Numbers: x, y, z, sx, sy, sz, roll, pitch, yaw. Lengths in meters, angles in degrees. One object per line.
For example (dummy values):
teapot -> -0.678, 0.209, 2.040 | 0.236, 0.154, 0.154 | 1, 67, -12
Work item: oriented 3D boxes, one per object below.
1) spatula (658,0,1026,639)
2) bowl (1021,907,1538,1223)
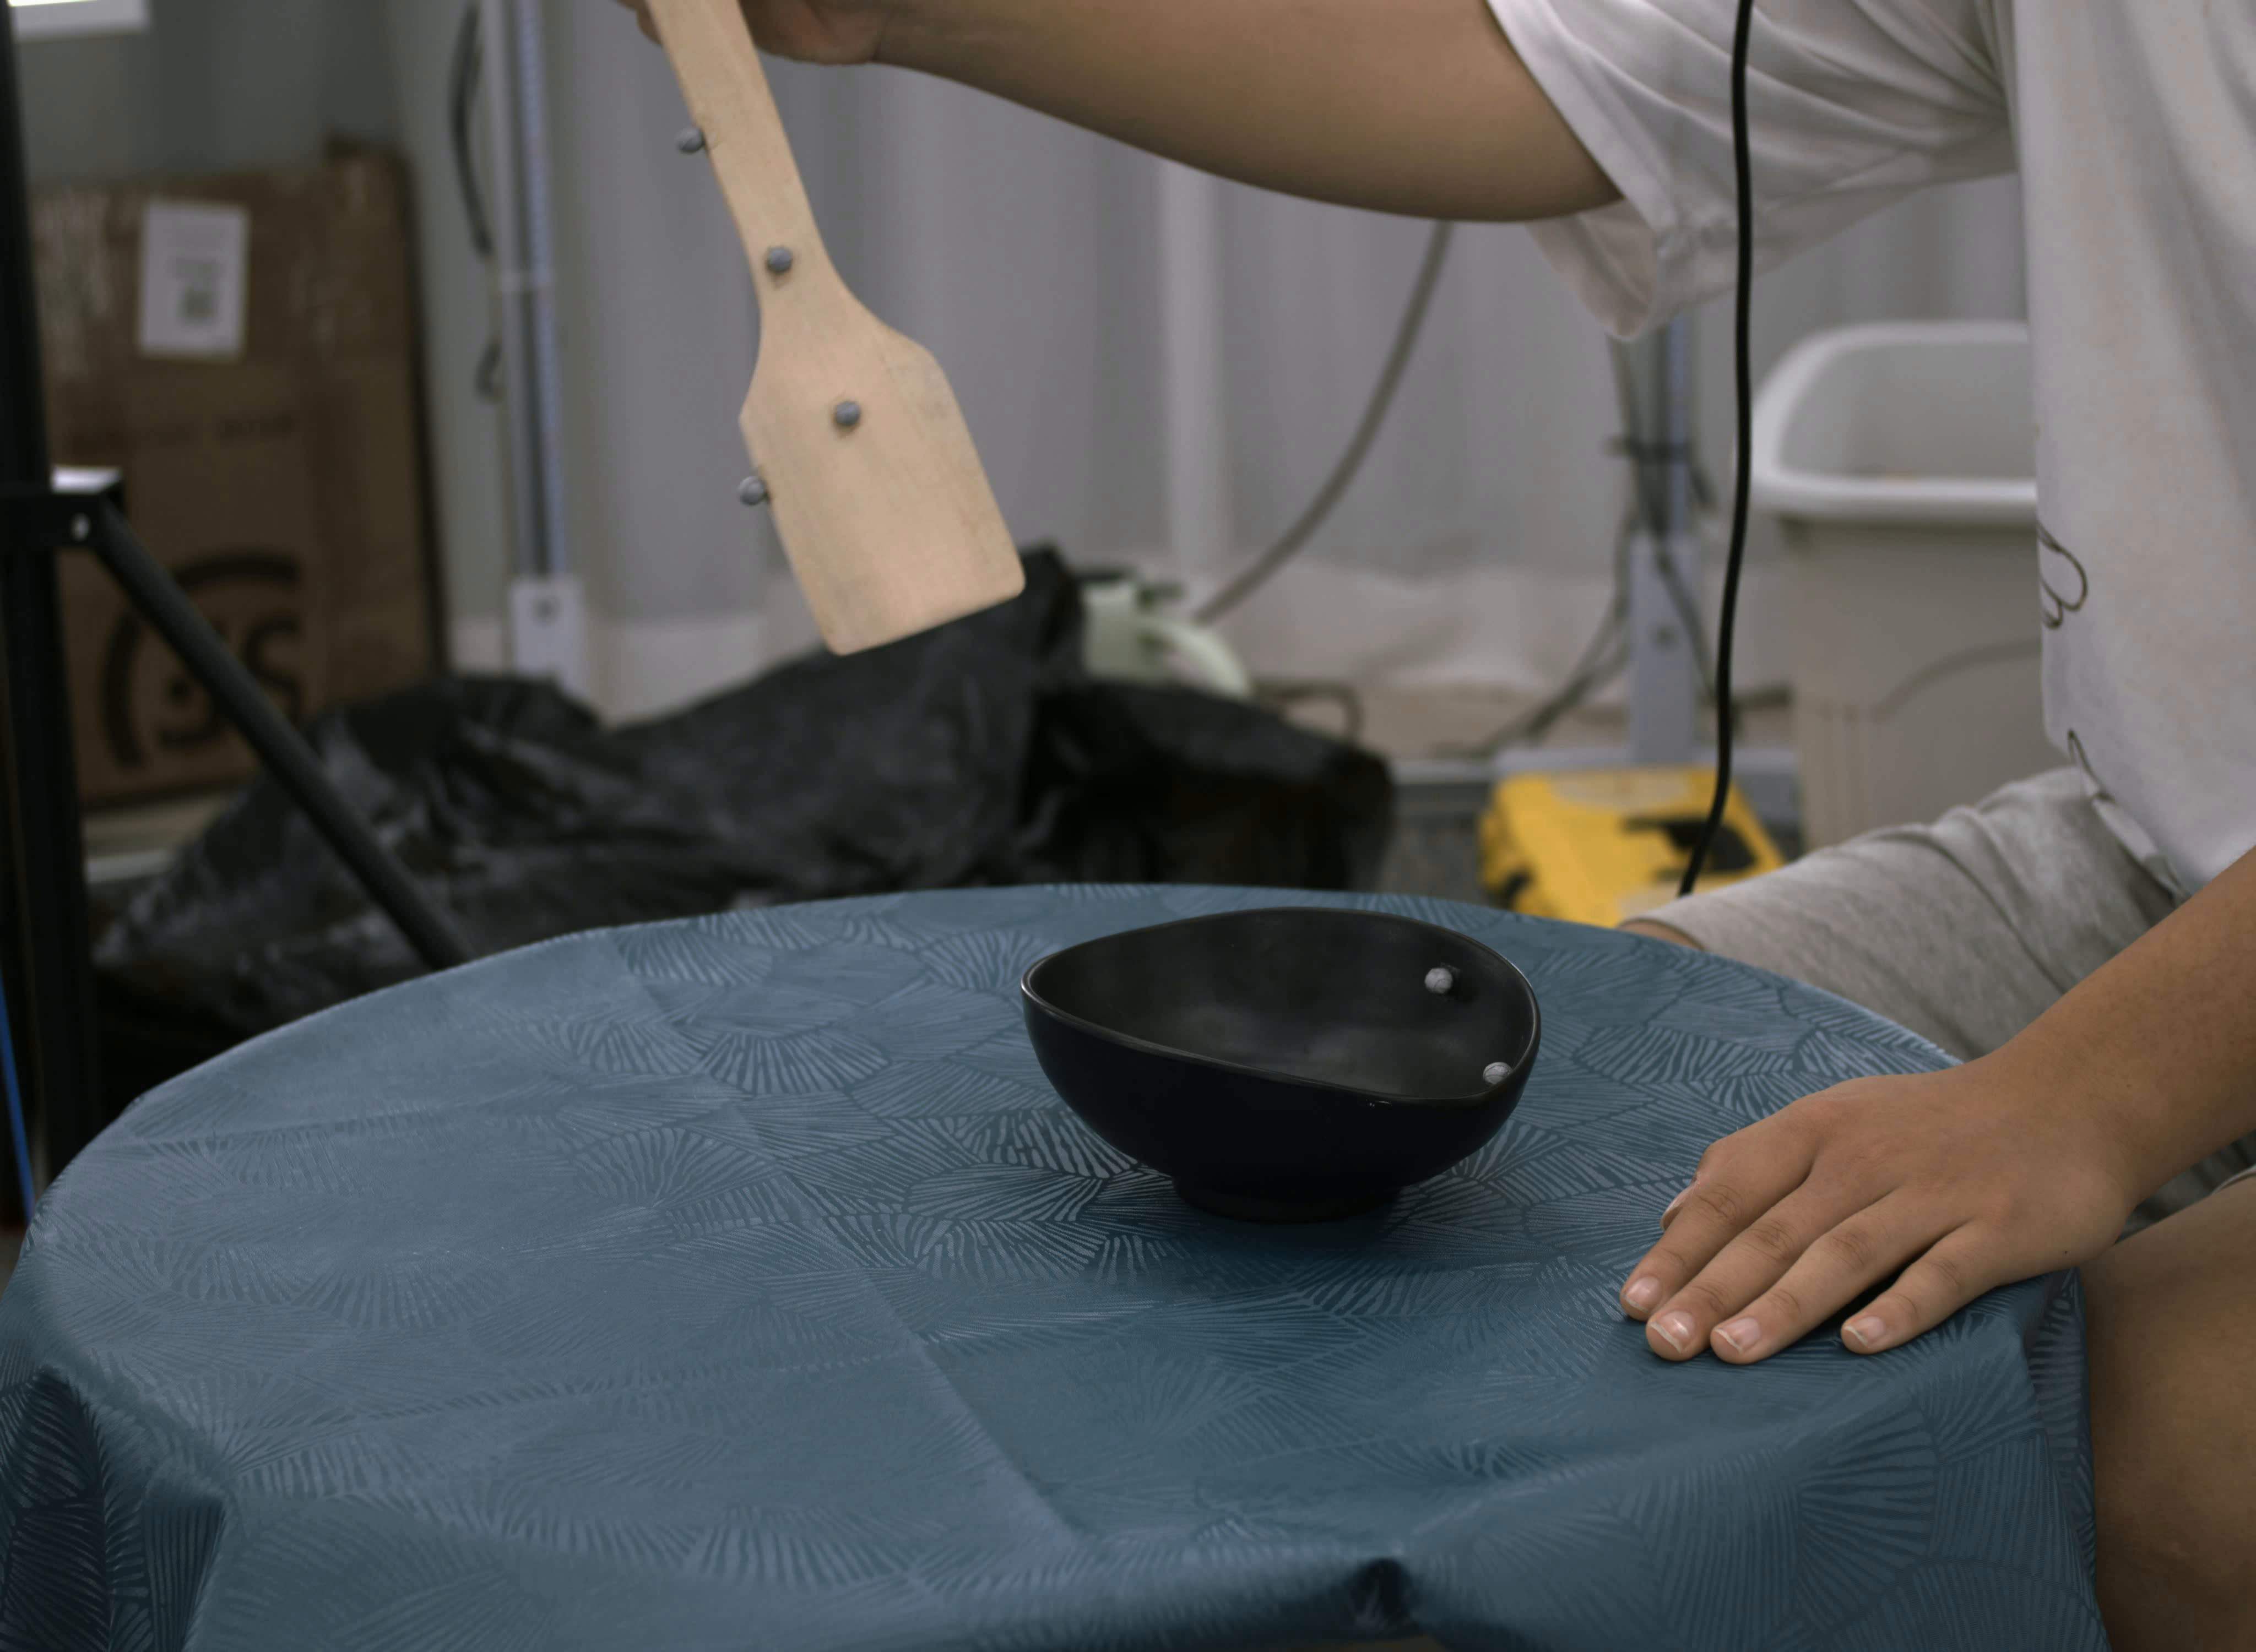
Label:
spatula -> -0.114, -0.205, 1.709 | 0.071, 0.294, 0.011 | -20, -1, -16
bowl -> 0.045, 0.074, 1.554 | 0.134, 0.067, 0.174 | -16, 22, -41
